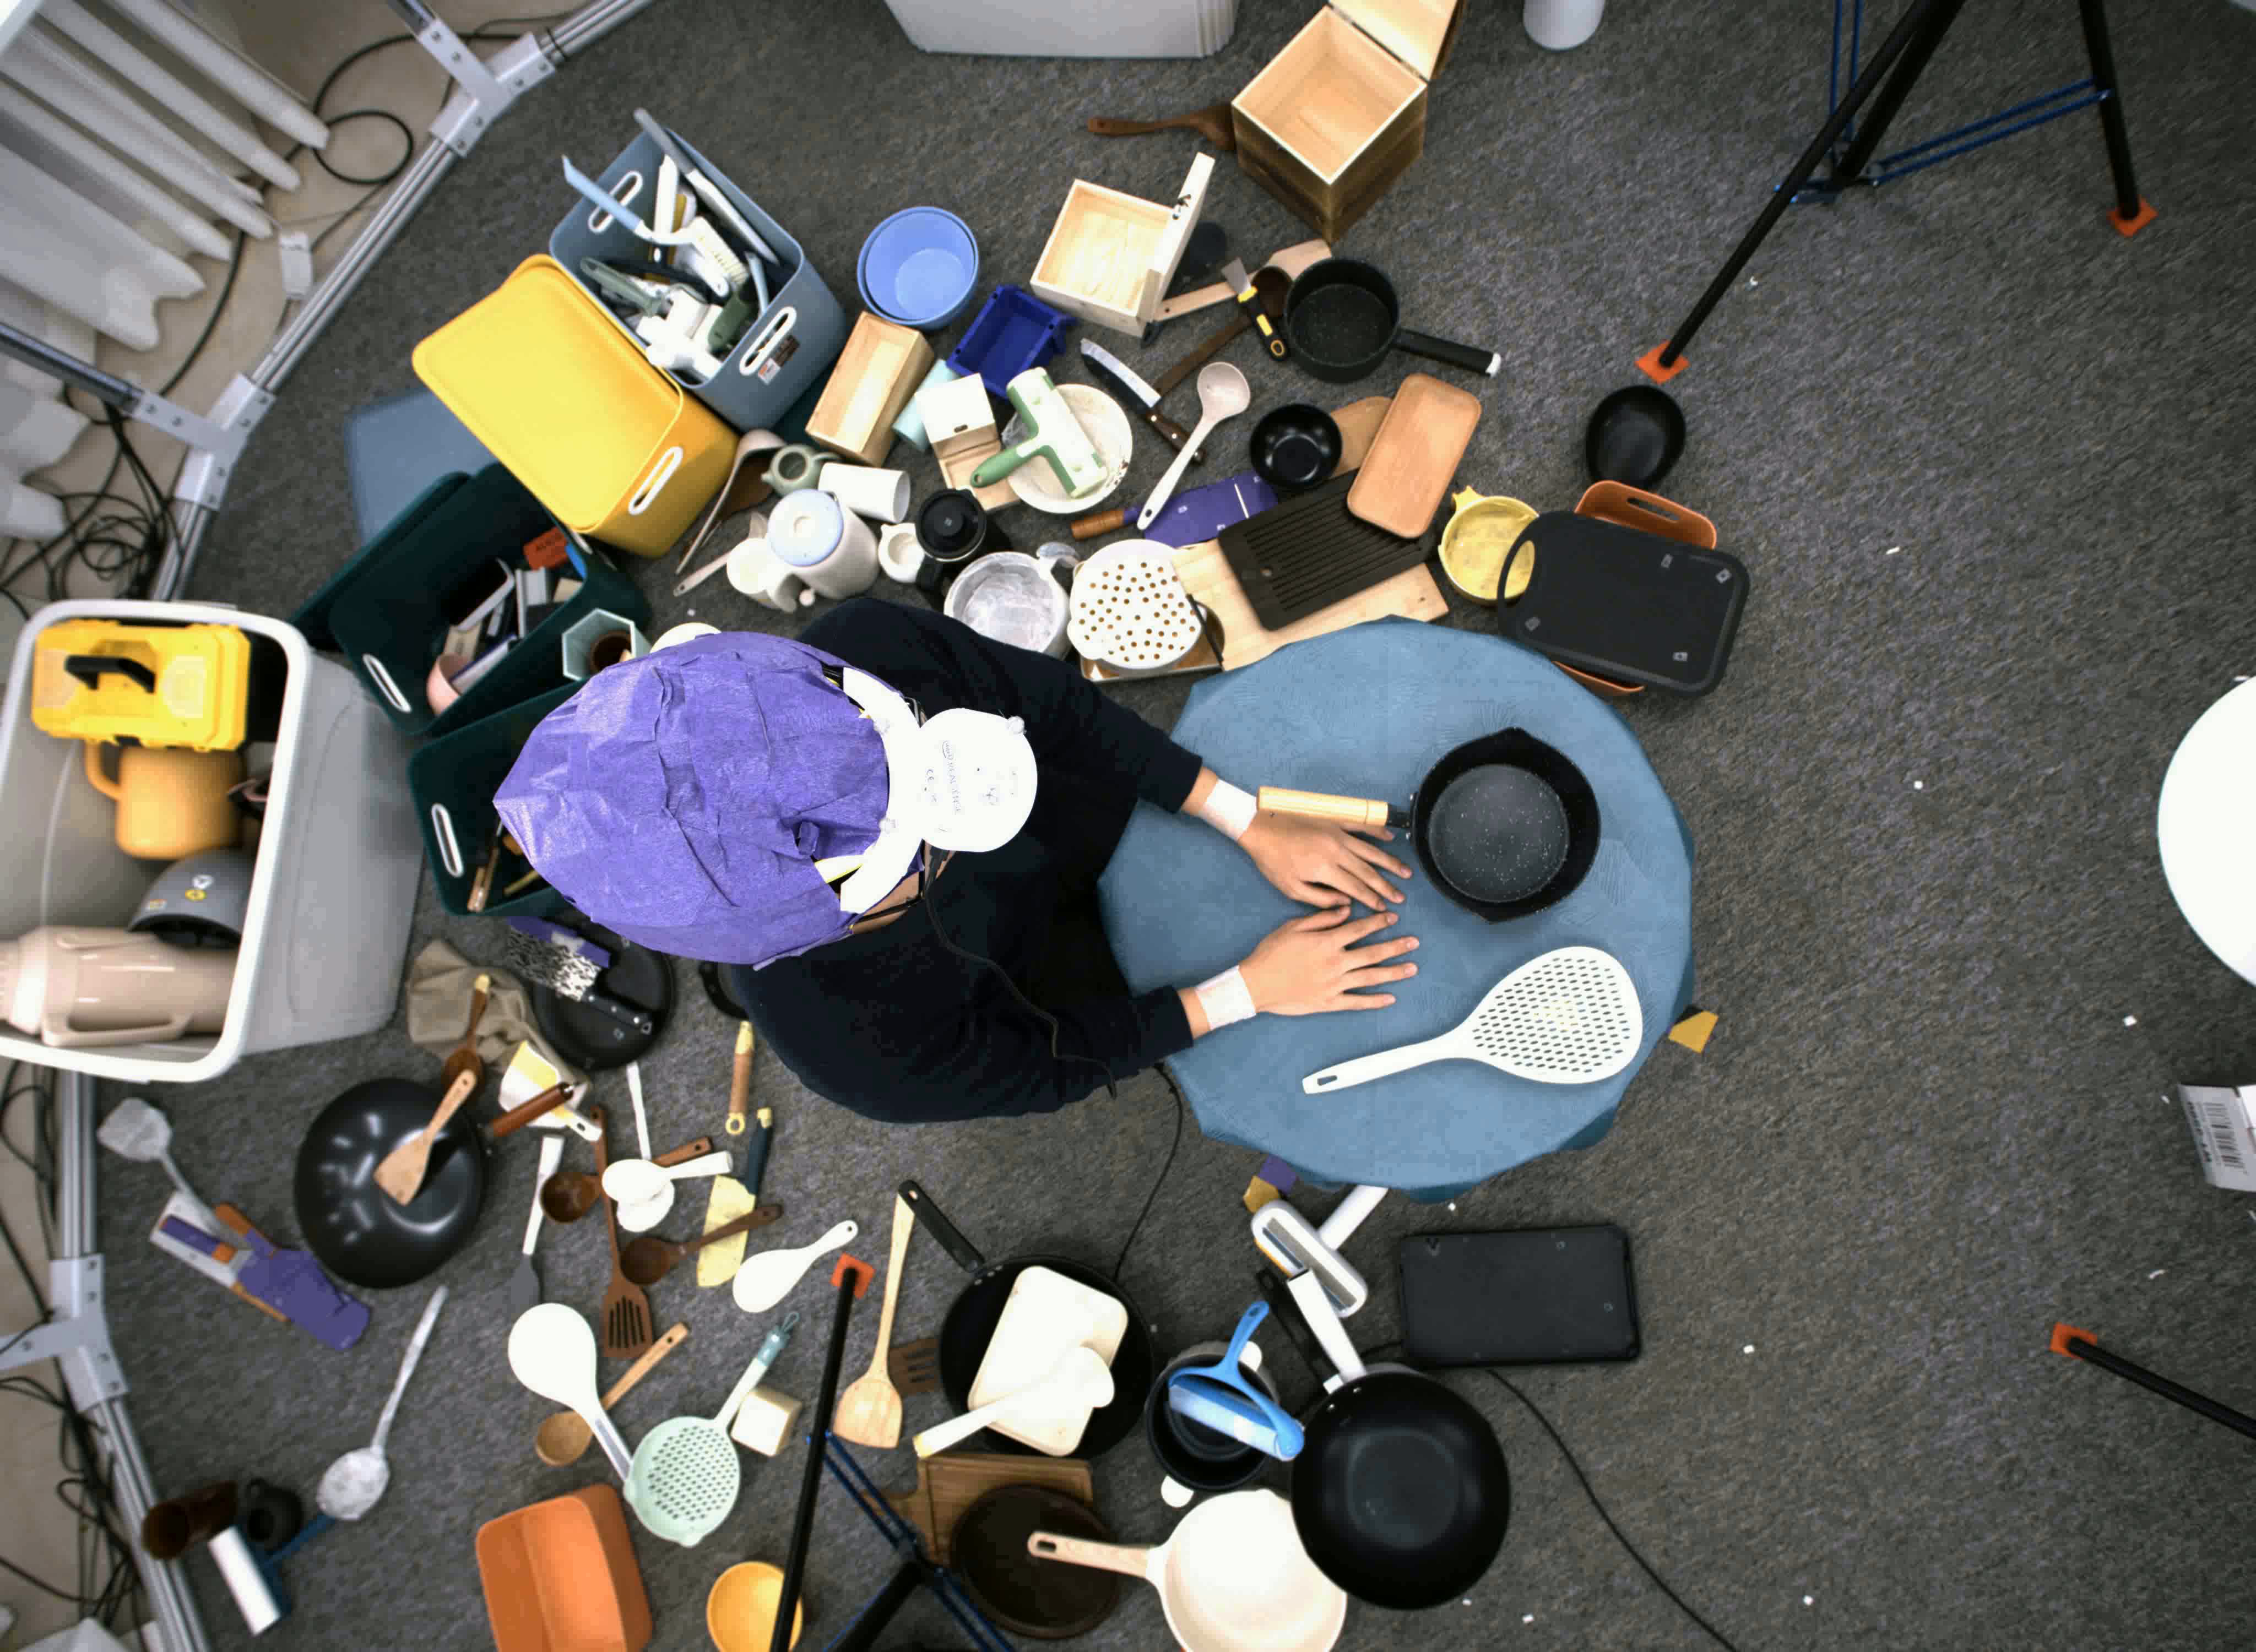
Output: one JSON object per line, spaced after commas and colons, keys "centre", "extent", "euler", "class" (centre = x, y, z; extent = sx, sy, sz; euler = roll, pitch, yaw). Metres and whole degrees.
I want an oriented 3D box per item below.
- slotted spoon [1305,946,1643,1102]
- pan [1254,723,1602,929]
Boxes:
{"centre": [0.347, 0.221, 1.415], "extent": [0.349, 0.050, 0.136], "euler": [-17, 85, 8], "class": "slotted spoon"}
{"centre": [0.301, -0.006, 1.404], "extent": [0.344, 0.108, 0.207], "euler": [5, 88, 9], "class": "pan"}
